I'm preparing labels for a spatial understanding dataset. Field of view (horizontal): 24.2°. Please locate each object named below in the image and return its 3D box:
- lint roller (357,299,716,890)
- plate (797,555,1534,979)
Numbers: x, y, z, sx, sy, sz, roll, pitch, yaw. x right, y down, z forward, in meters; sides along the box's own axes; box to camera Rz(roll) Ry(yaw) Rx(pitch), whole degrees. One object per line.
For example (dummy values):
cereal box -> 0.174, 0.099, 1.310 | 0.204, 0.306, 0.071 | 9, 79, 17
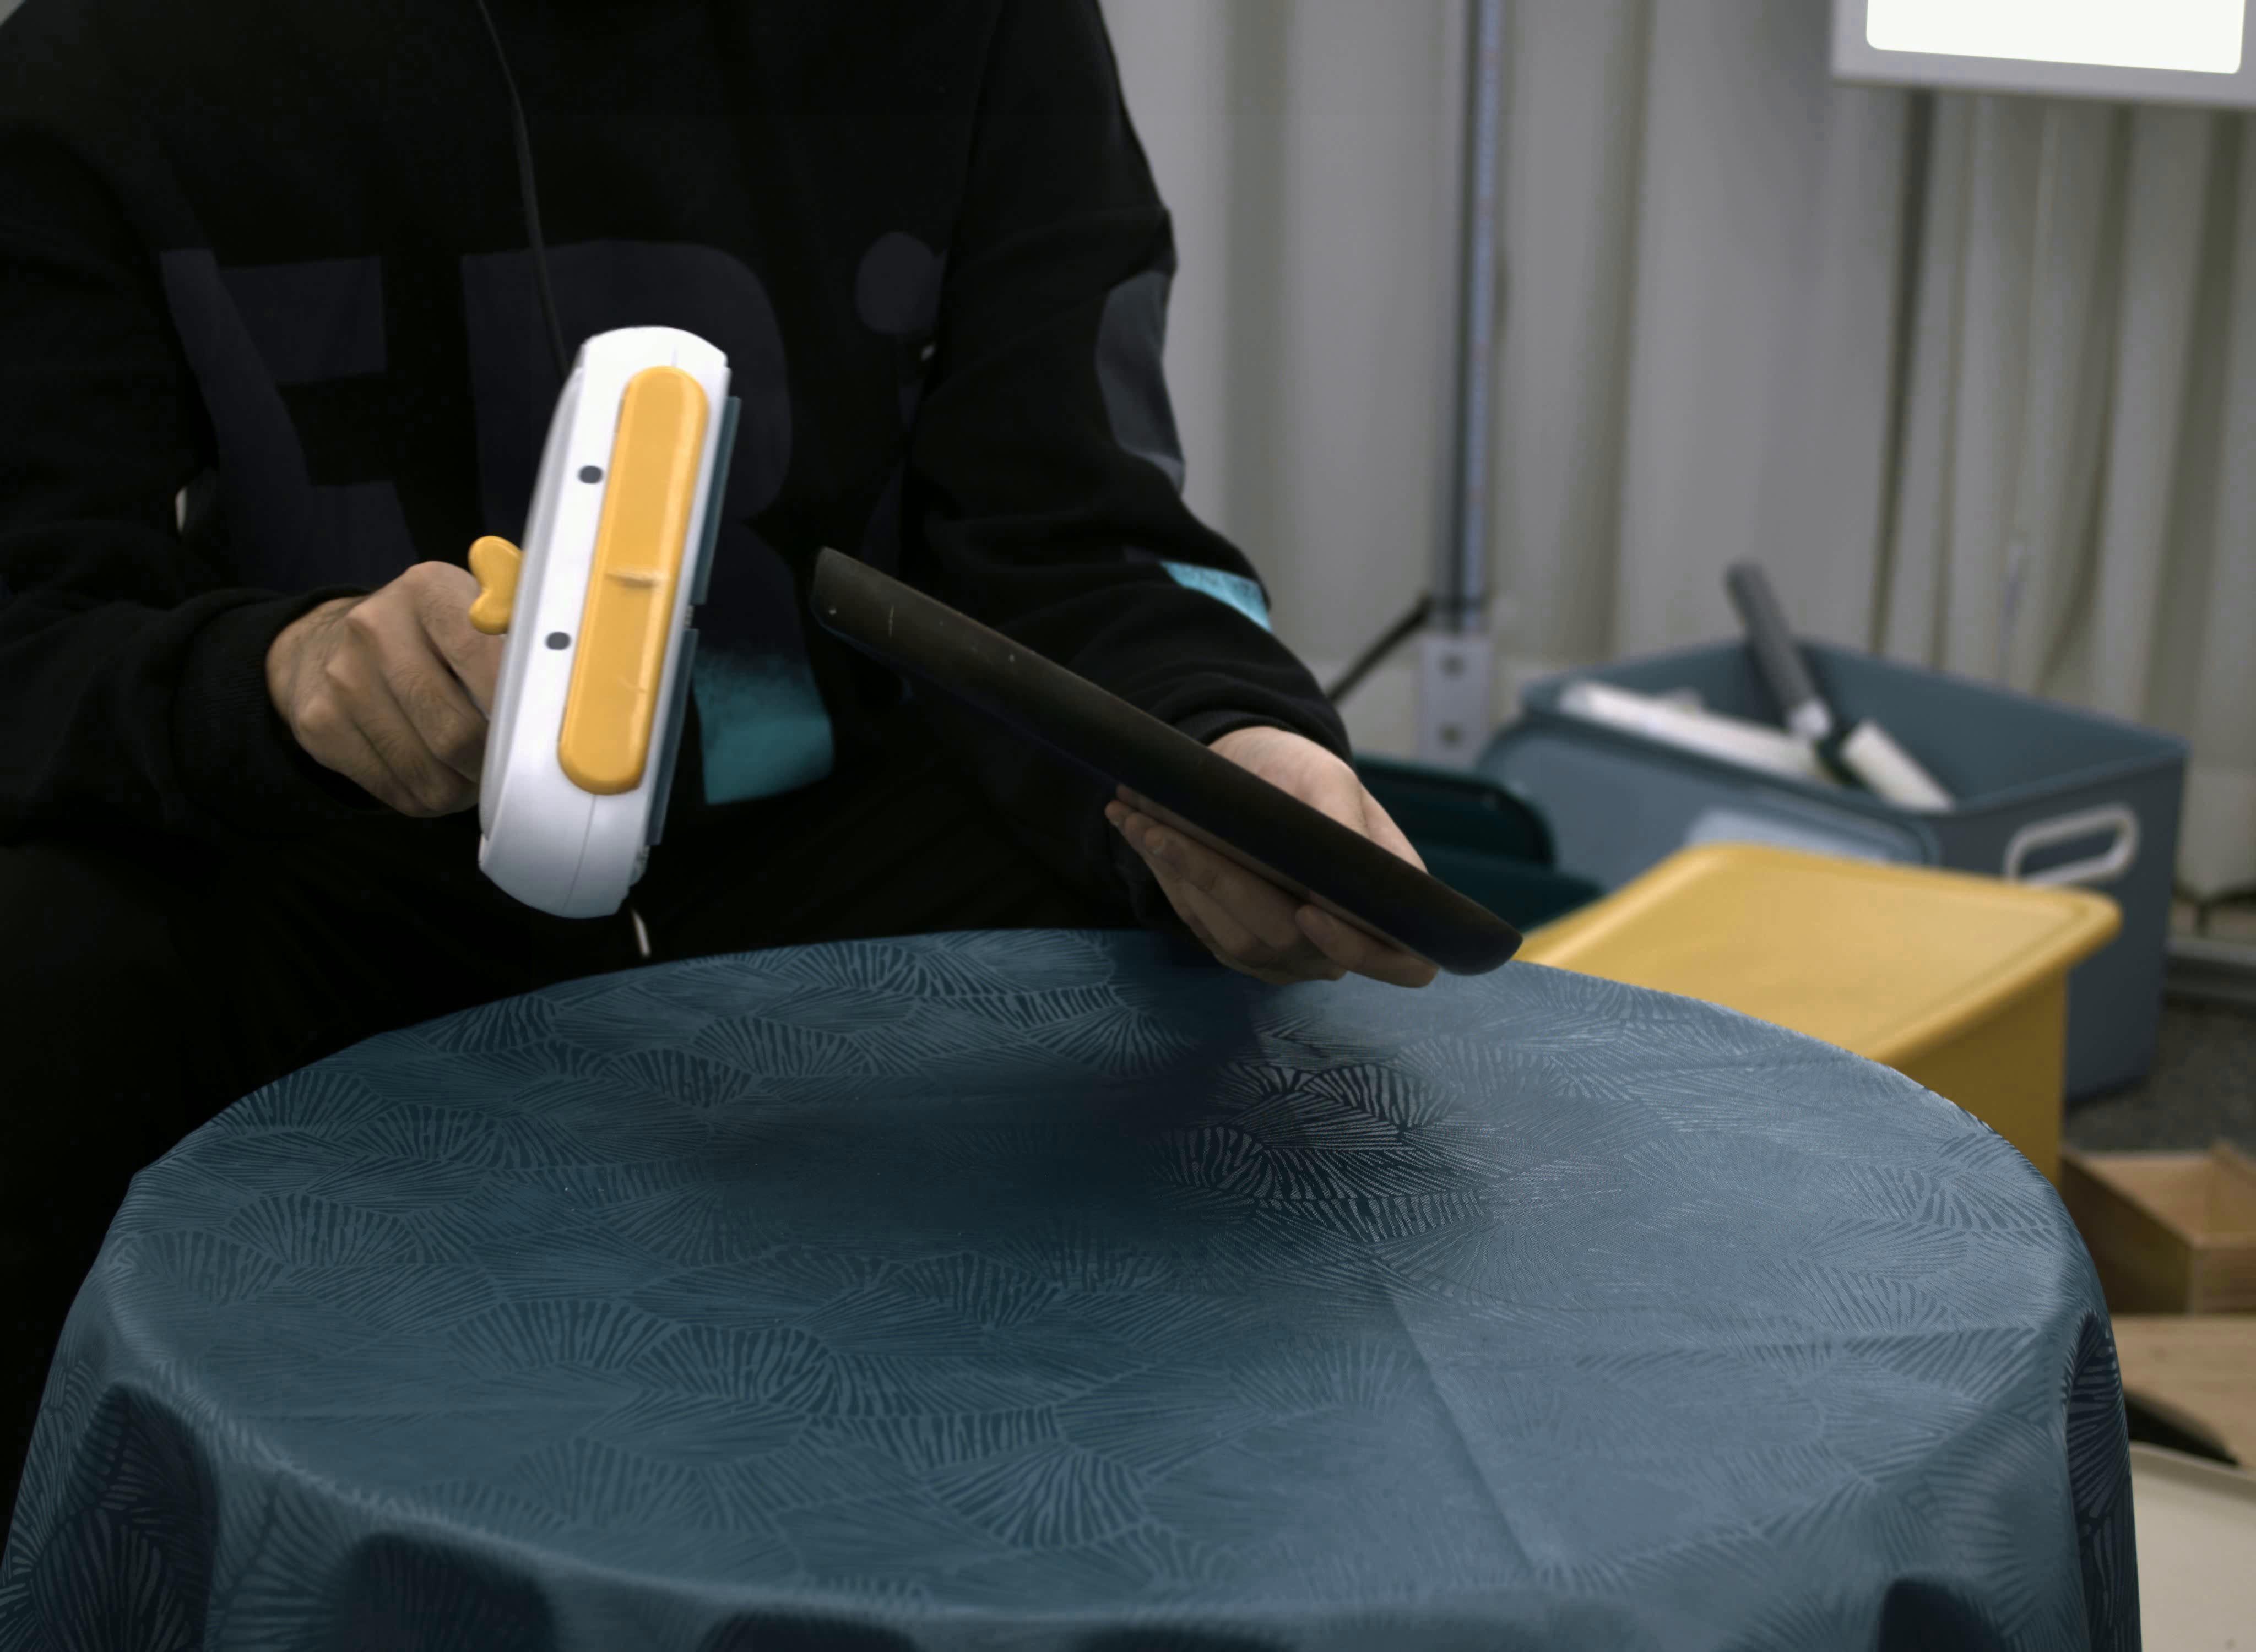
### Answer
lint roller -> -0.192, -0.051, 1.669 | 0.074, 0.192, 0.192 | 11, -27, -20
plate -> 0.008, -0.017, 1.636 | 0.254, 0.029, 0.255 | 28, -2, 2
